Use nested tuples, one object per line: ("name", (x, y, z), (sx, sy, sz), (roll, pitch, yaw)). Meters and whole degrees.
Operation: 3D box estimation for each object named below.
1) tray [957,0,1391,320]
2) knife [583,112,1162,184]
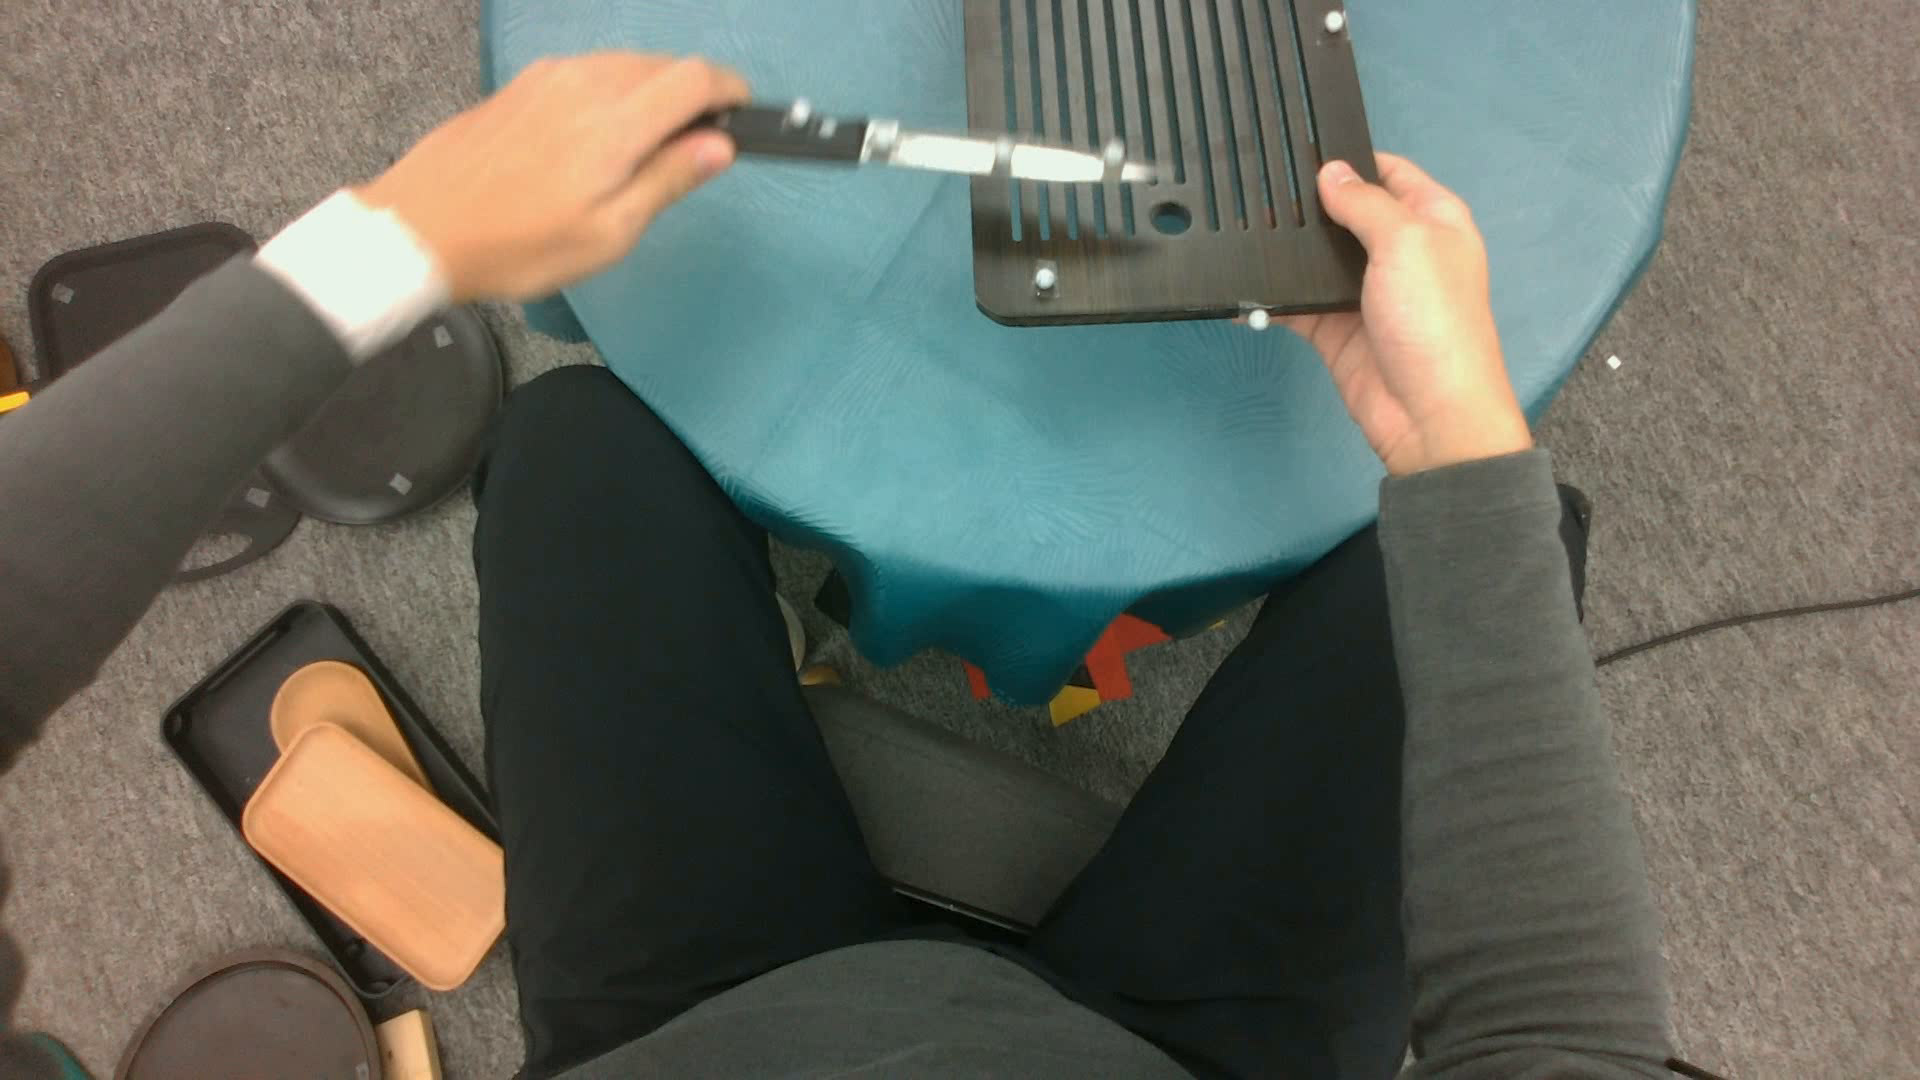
("tray", (0.084, -0.229, 0.623), (0.170, 0.018, 0.307), (-2, 64, 0))
("knife", (-0.037, -0.156, 0.558), (0.238, 0.016, 0.024), (5, 53, 3))
